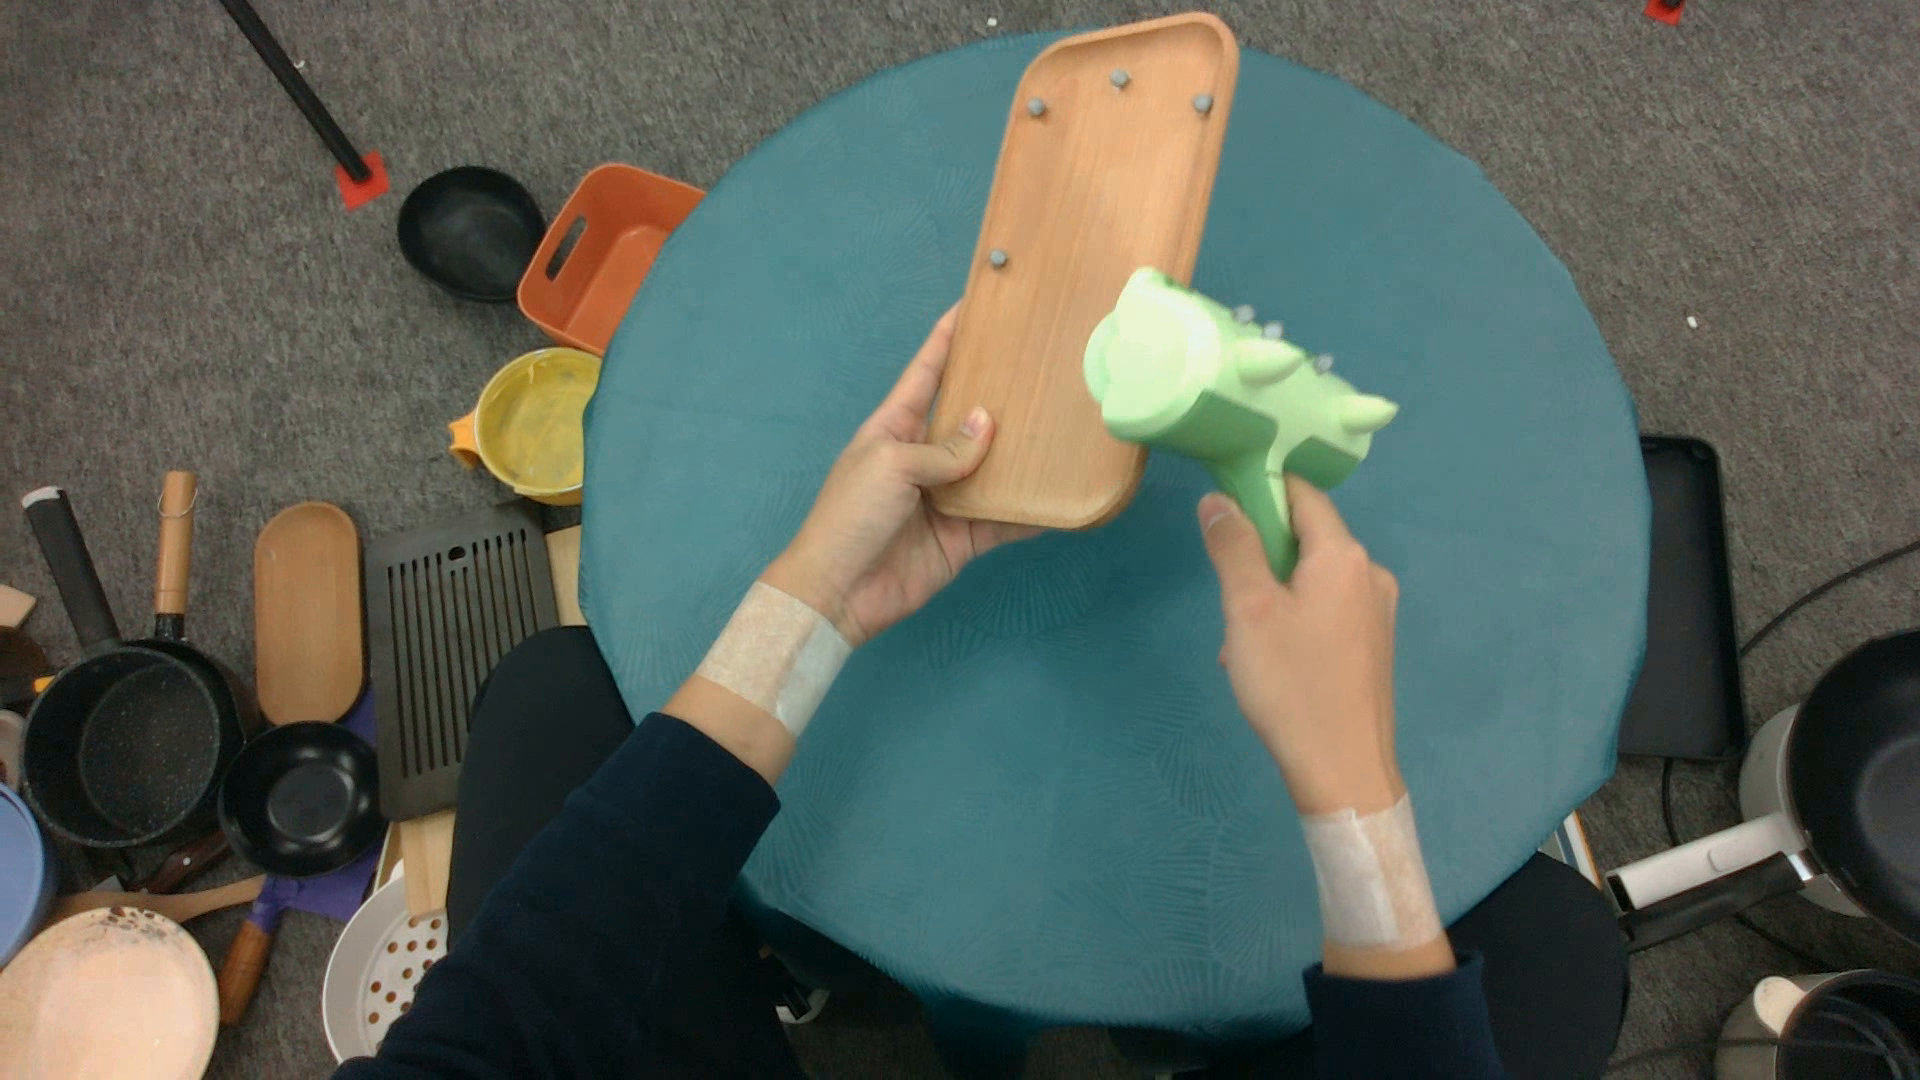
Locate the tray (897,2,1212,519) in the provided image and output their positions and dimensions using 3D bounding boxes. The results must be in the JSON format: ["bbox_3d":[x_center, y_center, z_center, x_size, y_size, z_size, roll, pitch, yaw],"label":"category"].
[{"bbox_3d":[0.044,-0.131,0.647,0.130,0.023,0.251,4,78,43],"label":"tray"}]

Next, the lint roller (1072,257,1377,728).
[{"bbox_3d":[0.137,-0.019,0.577,0.082,0.199,0.183,-28,71,29],"label":"lint roller"}]
